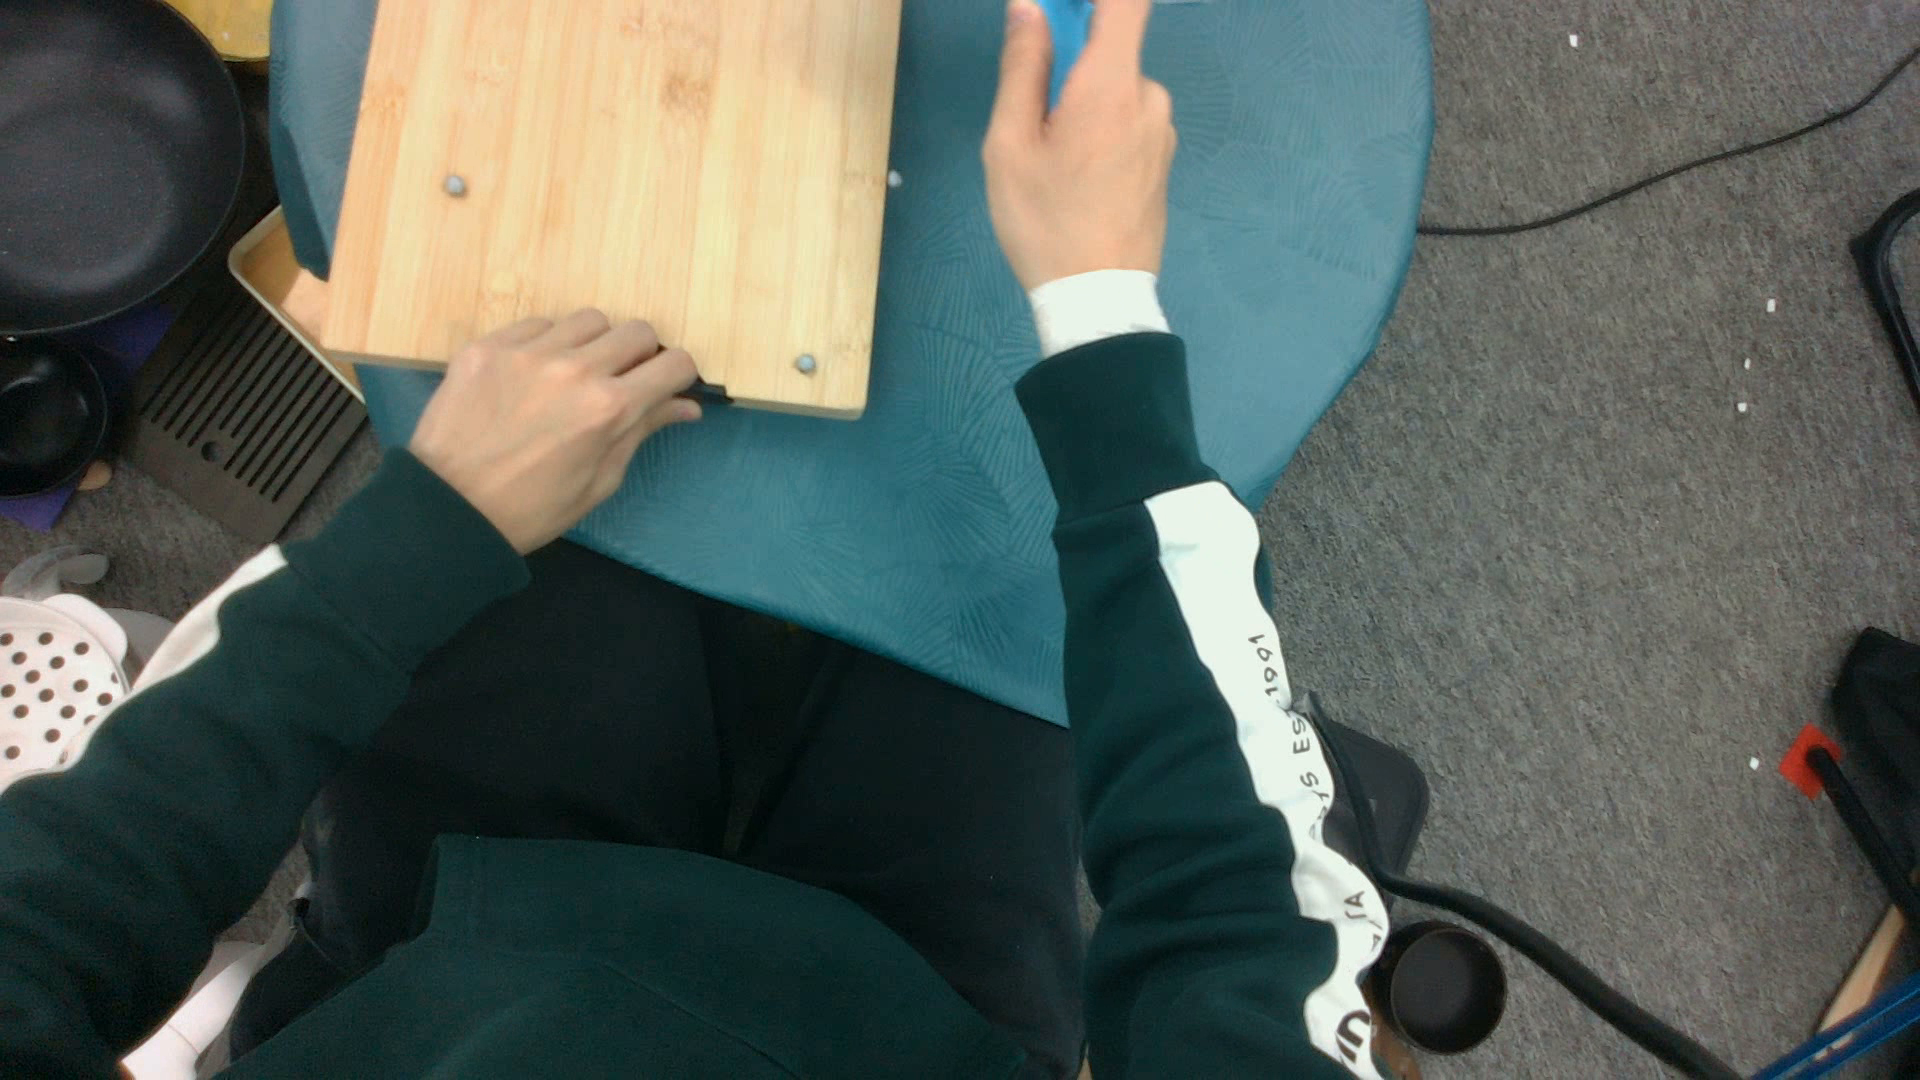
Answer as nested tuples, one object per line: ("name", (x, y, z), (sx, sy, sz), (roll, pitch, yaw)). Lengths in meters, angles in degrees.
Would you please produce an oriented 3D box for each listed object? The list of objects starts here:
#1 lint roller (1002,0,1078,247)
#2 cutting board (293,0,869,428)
("lint roller", (0.029, -0.222, 0.601), (0.229, 0.067, 0.180), (-7, 71, -20))
("cutting board", (-0.168, -0.231, 0.666), (0.251, 0.023, 0.349), (3, 78, -10))
